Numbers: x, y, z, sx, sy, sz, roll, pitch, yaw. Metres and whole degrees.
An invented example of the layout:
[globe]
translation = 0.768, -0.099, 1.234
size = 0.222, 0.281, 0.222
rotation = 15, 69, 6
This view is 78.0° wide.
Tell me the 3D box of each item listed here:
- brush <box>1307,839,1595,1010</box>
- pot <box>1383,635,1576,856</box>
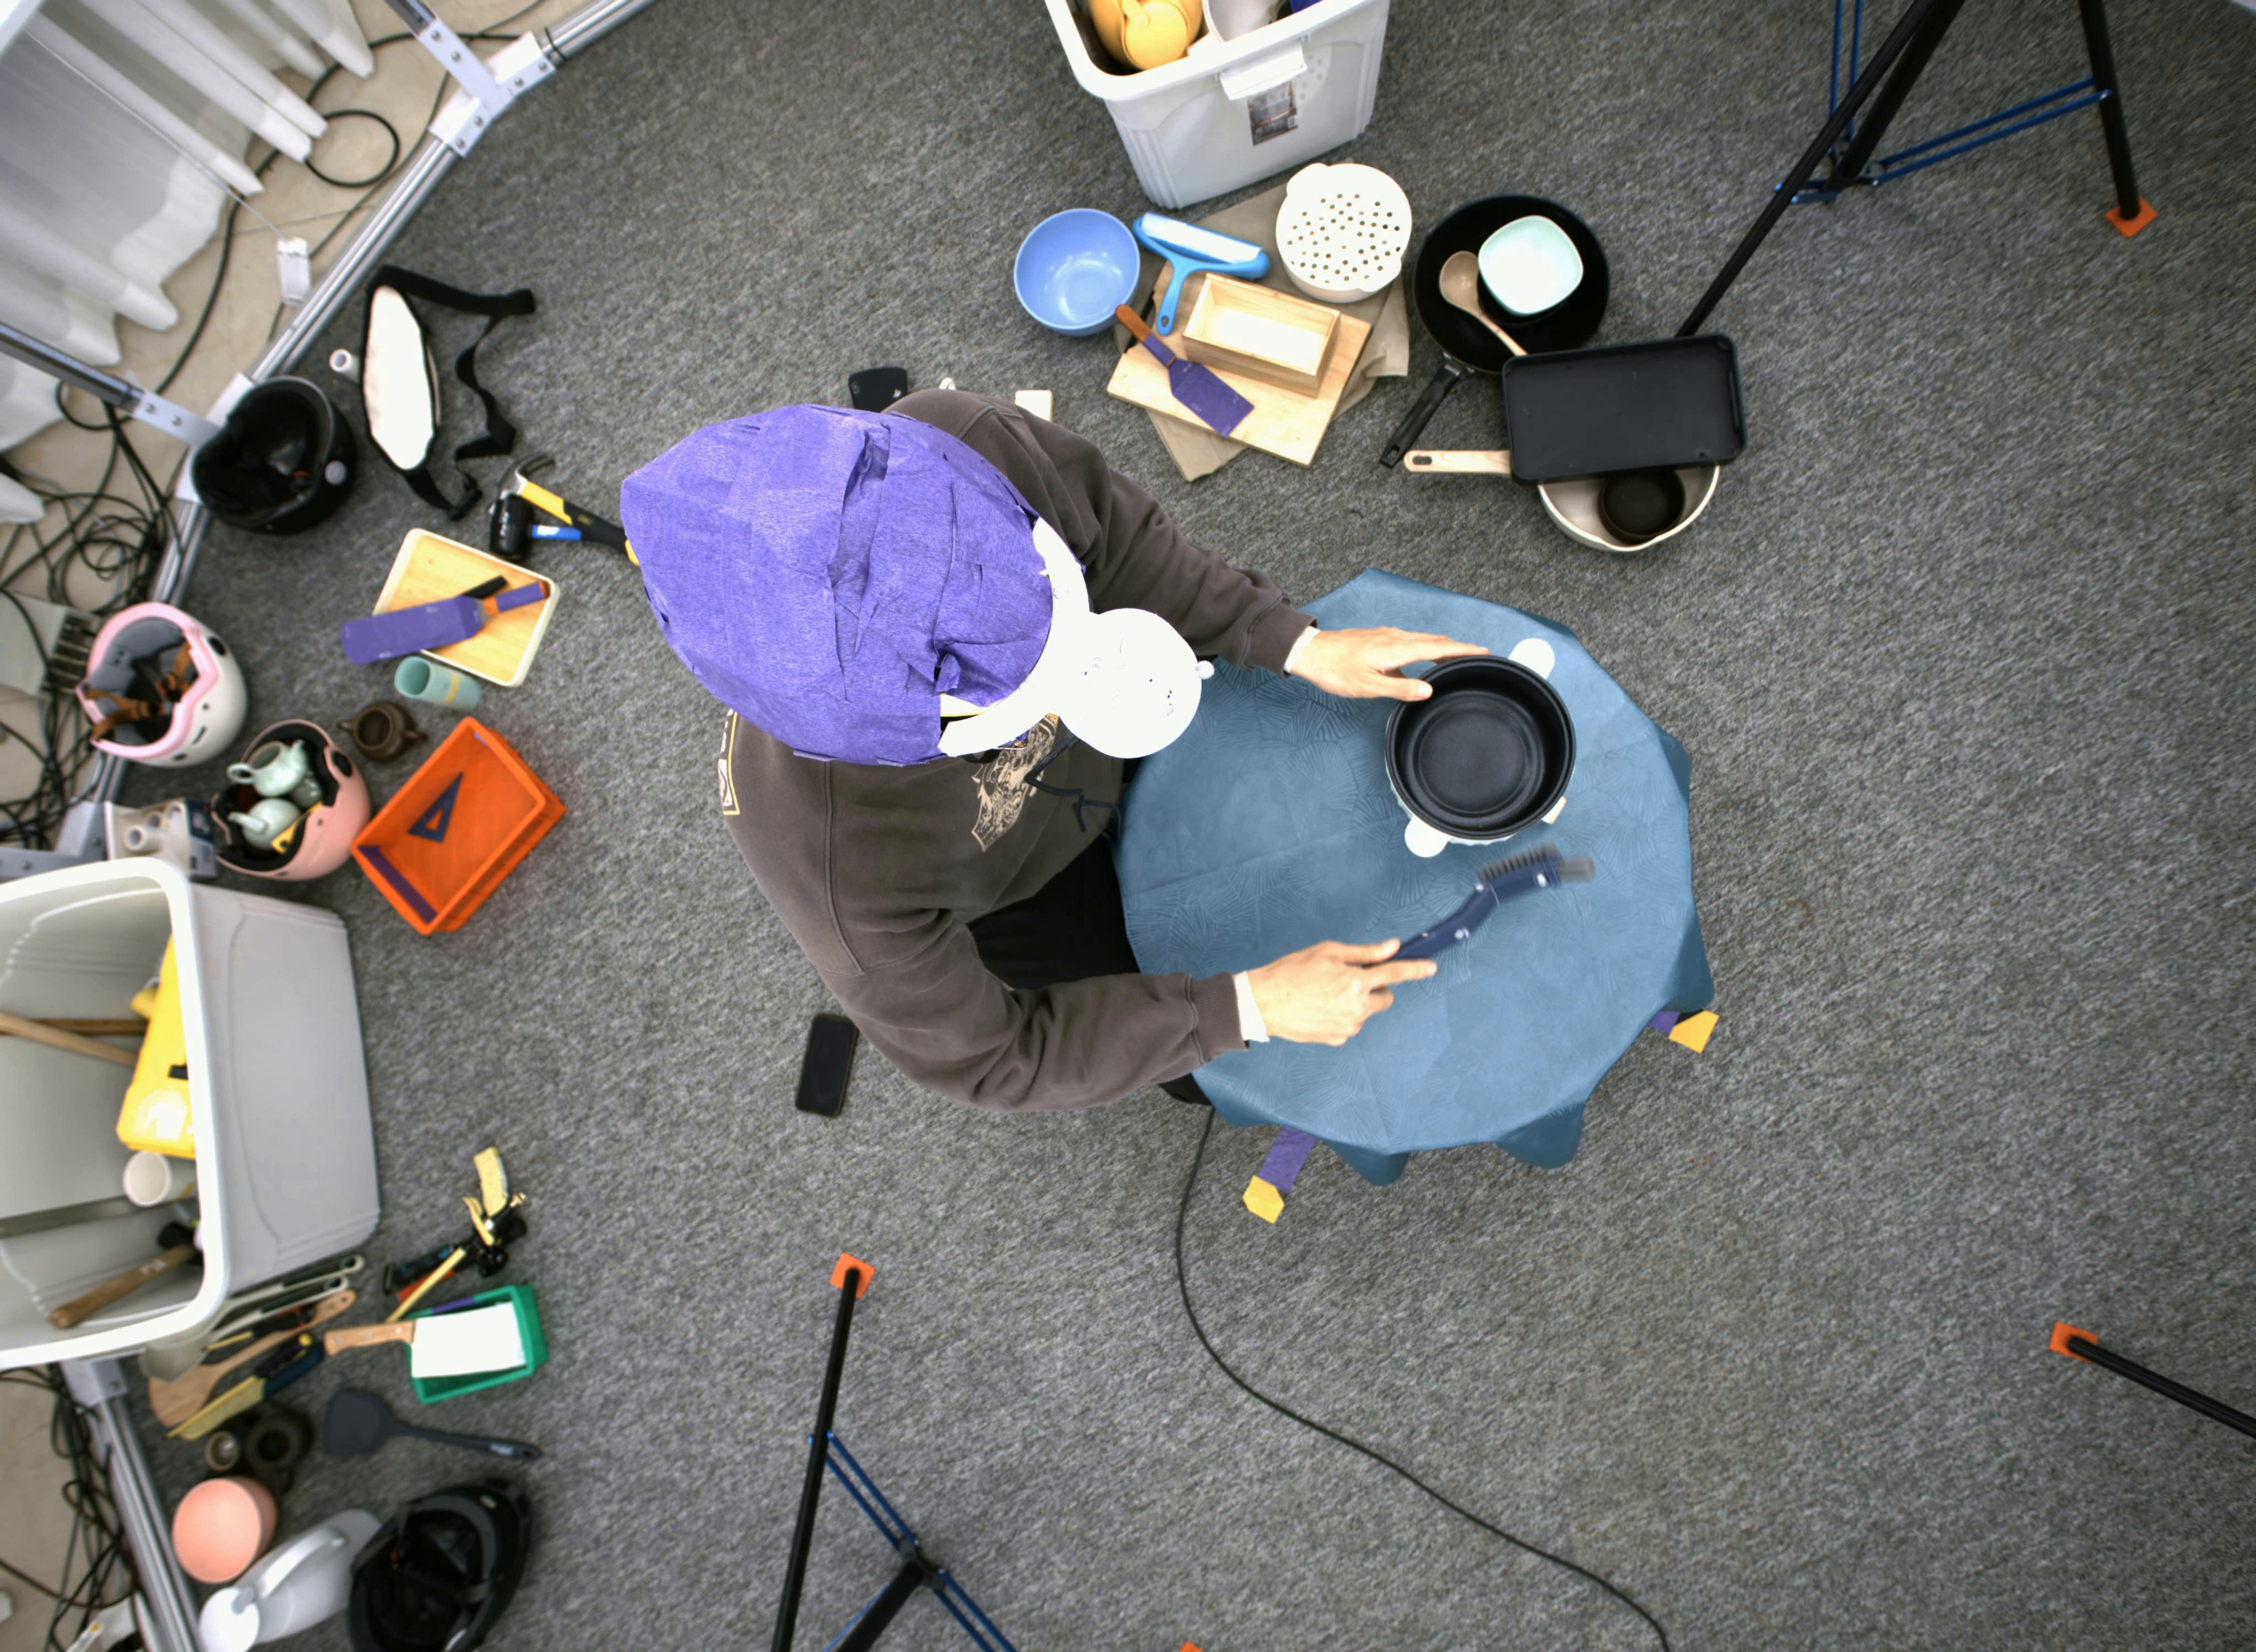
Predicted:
[brush]
translation = 0.292, 0.091, 1.261
size = 0.272, 0.094, 0.034
rotation = -36, 122, -3
[pot]
translation = 0.353, -0.072, 1.378
size = 0.190, 0.142, 0.241
rotation = 31, 94, 14
